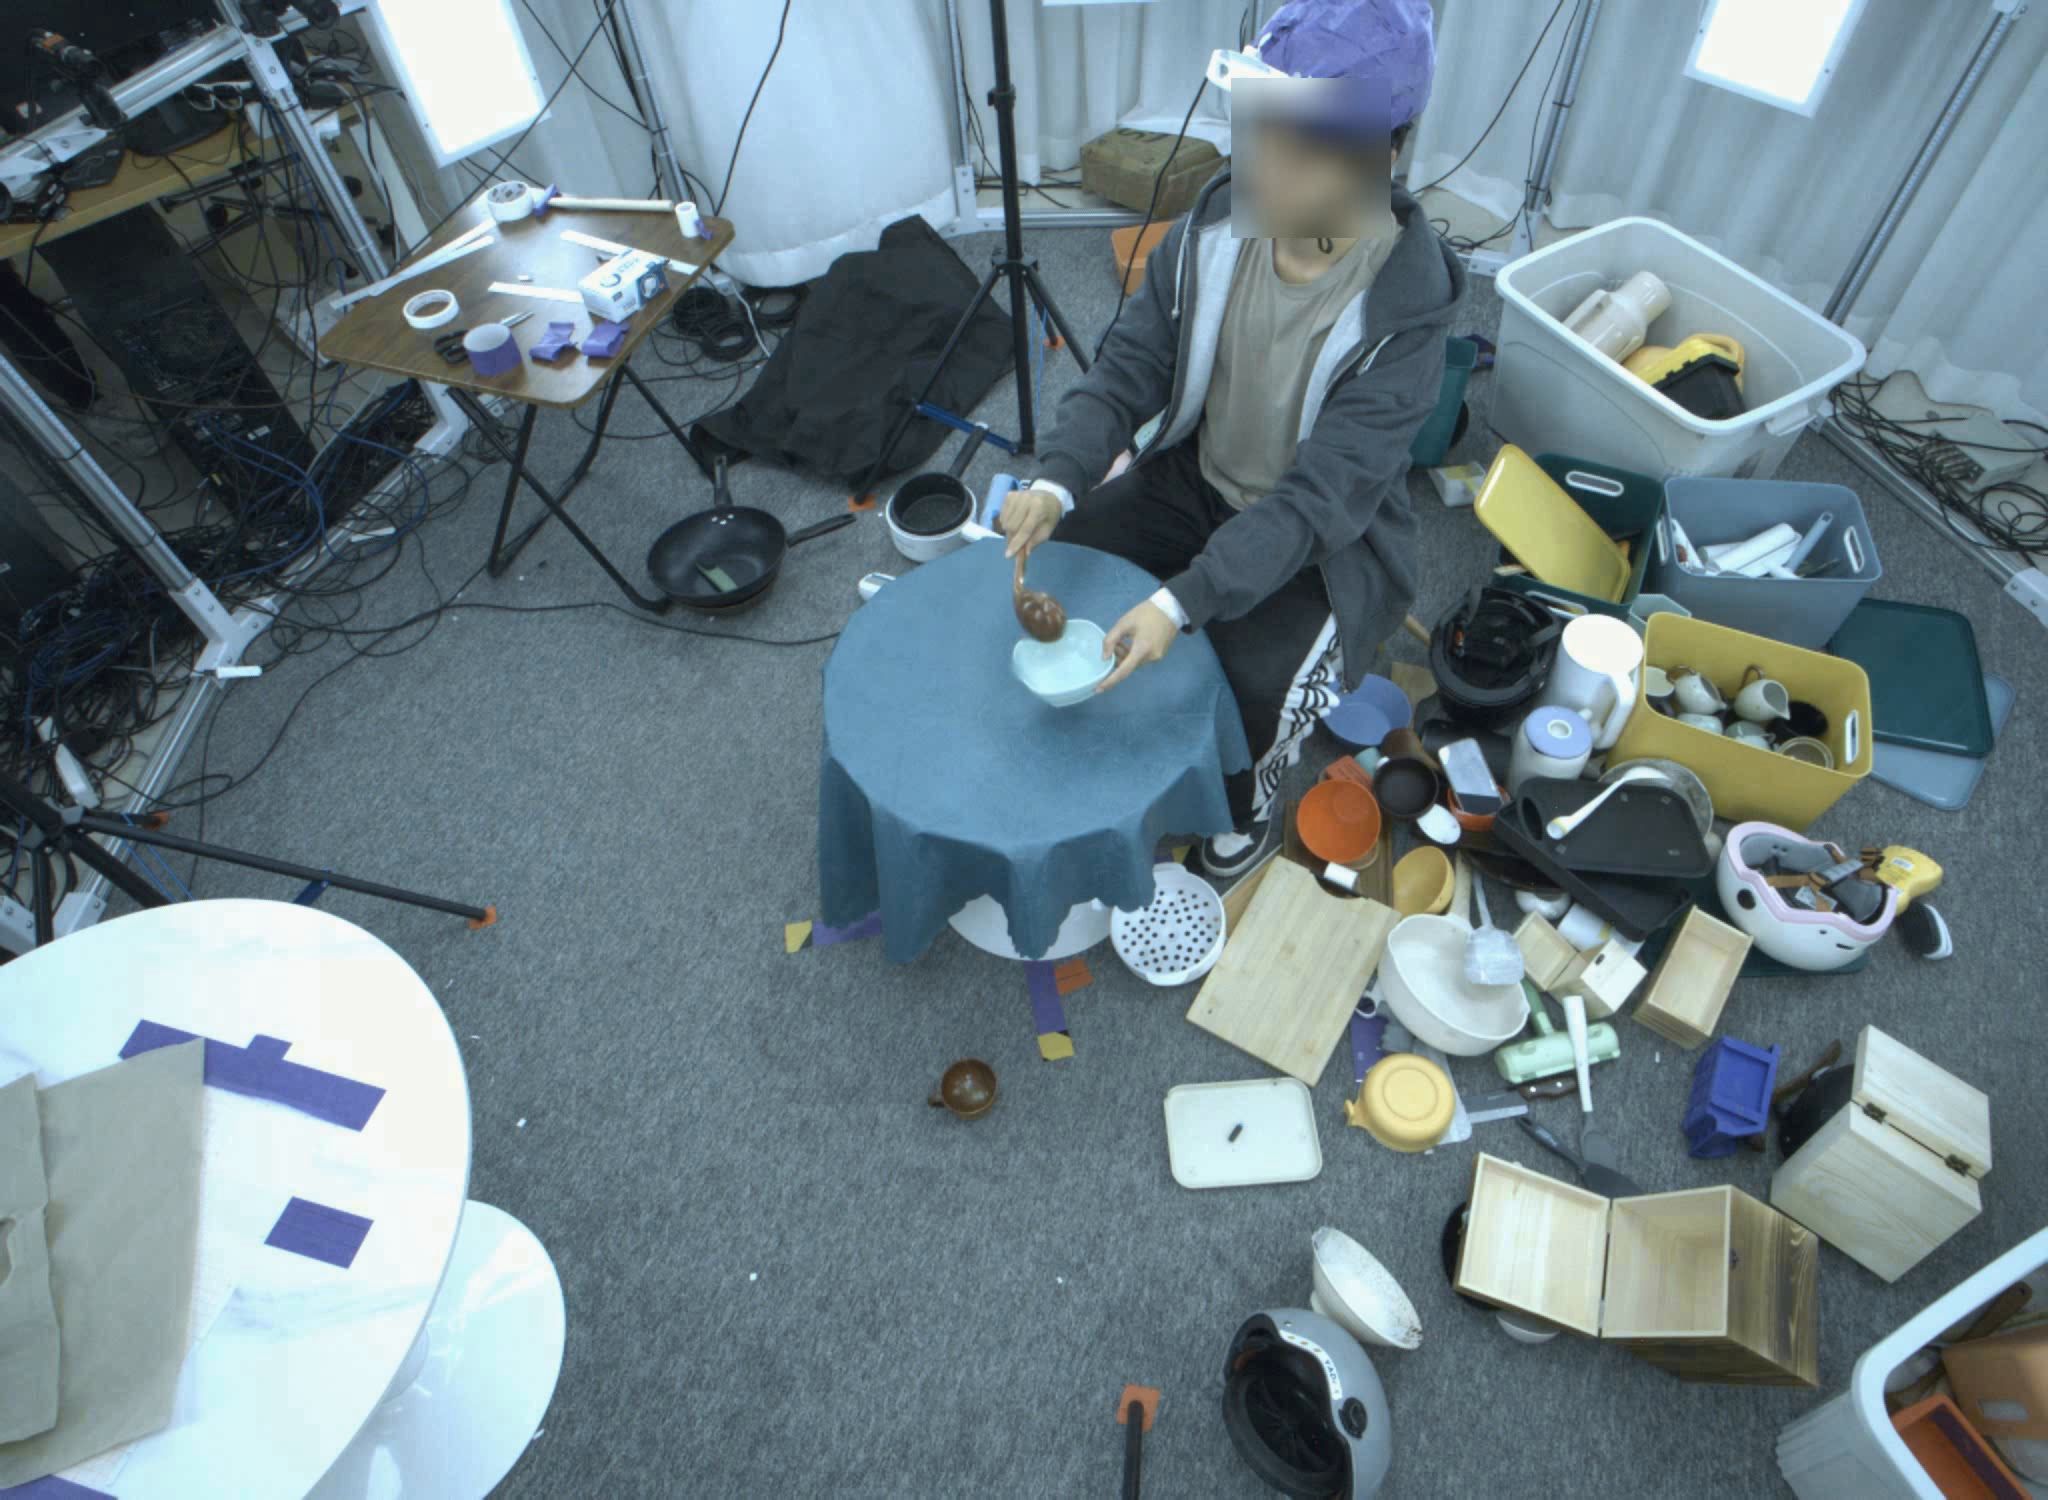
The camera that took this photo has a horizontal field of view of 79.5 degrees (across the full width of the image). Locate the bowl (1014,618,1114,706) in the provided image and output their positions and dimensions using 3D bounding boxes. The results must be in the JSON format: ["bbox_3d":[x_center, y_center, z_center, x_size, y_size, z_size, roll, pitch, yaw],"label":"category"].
[{"bbox_3d":[0.062,-0.117,1.760,0.150,0.059,0.150,-7,50,10],"label":"bowl"}]

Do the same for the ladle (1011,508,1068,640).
[{"bbox_3d":[0.020,-0.264,1.758,0.077,0.082,0.271,3,46,-4],"label":"ladle"}]
